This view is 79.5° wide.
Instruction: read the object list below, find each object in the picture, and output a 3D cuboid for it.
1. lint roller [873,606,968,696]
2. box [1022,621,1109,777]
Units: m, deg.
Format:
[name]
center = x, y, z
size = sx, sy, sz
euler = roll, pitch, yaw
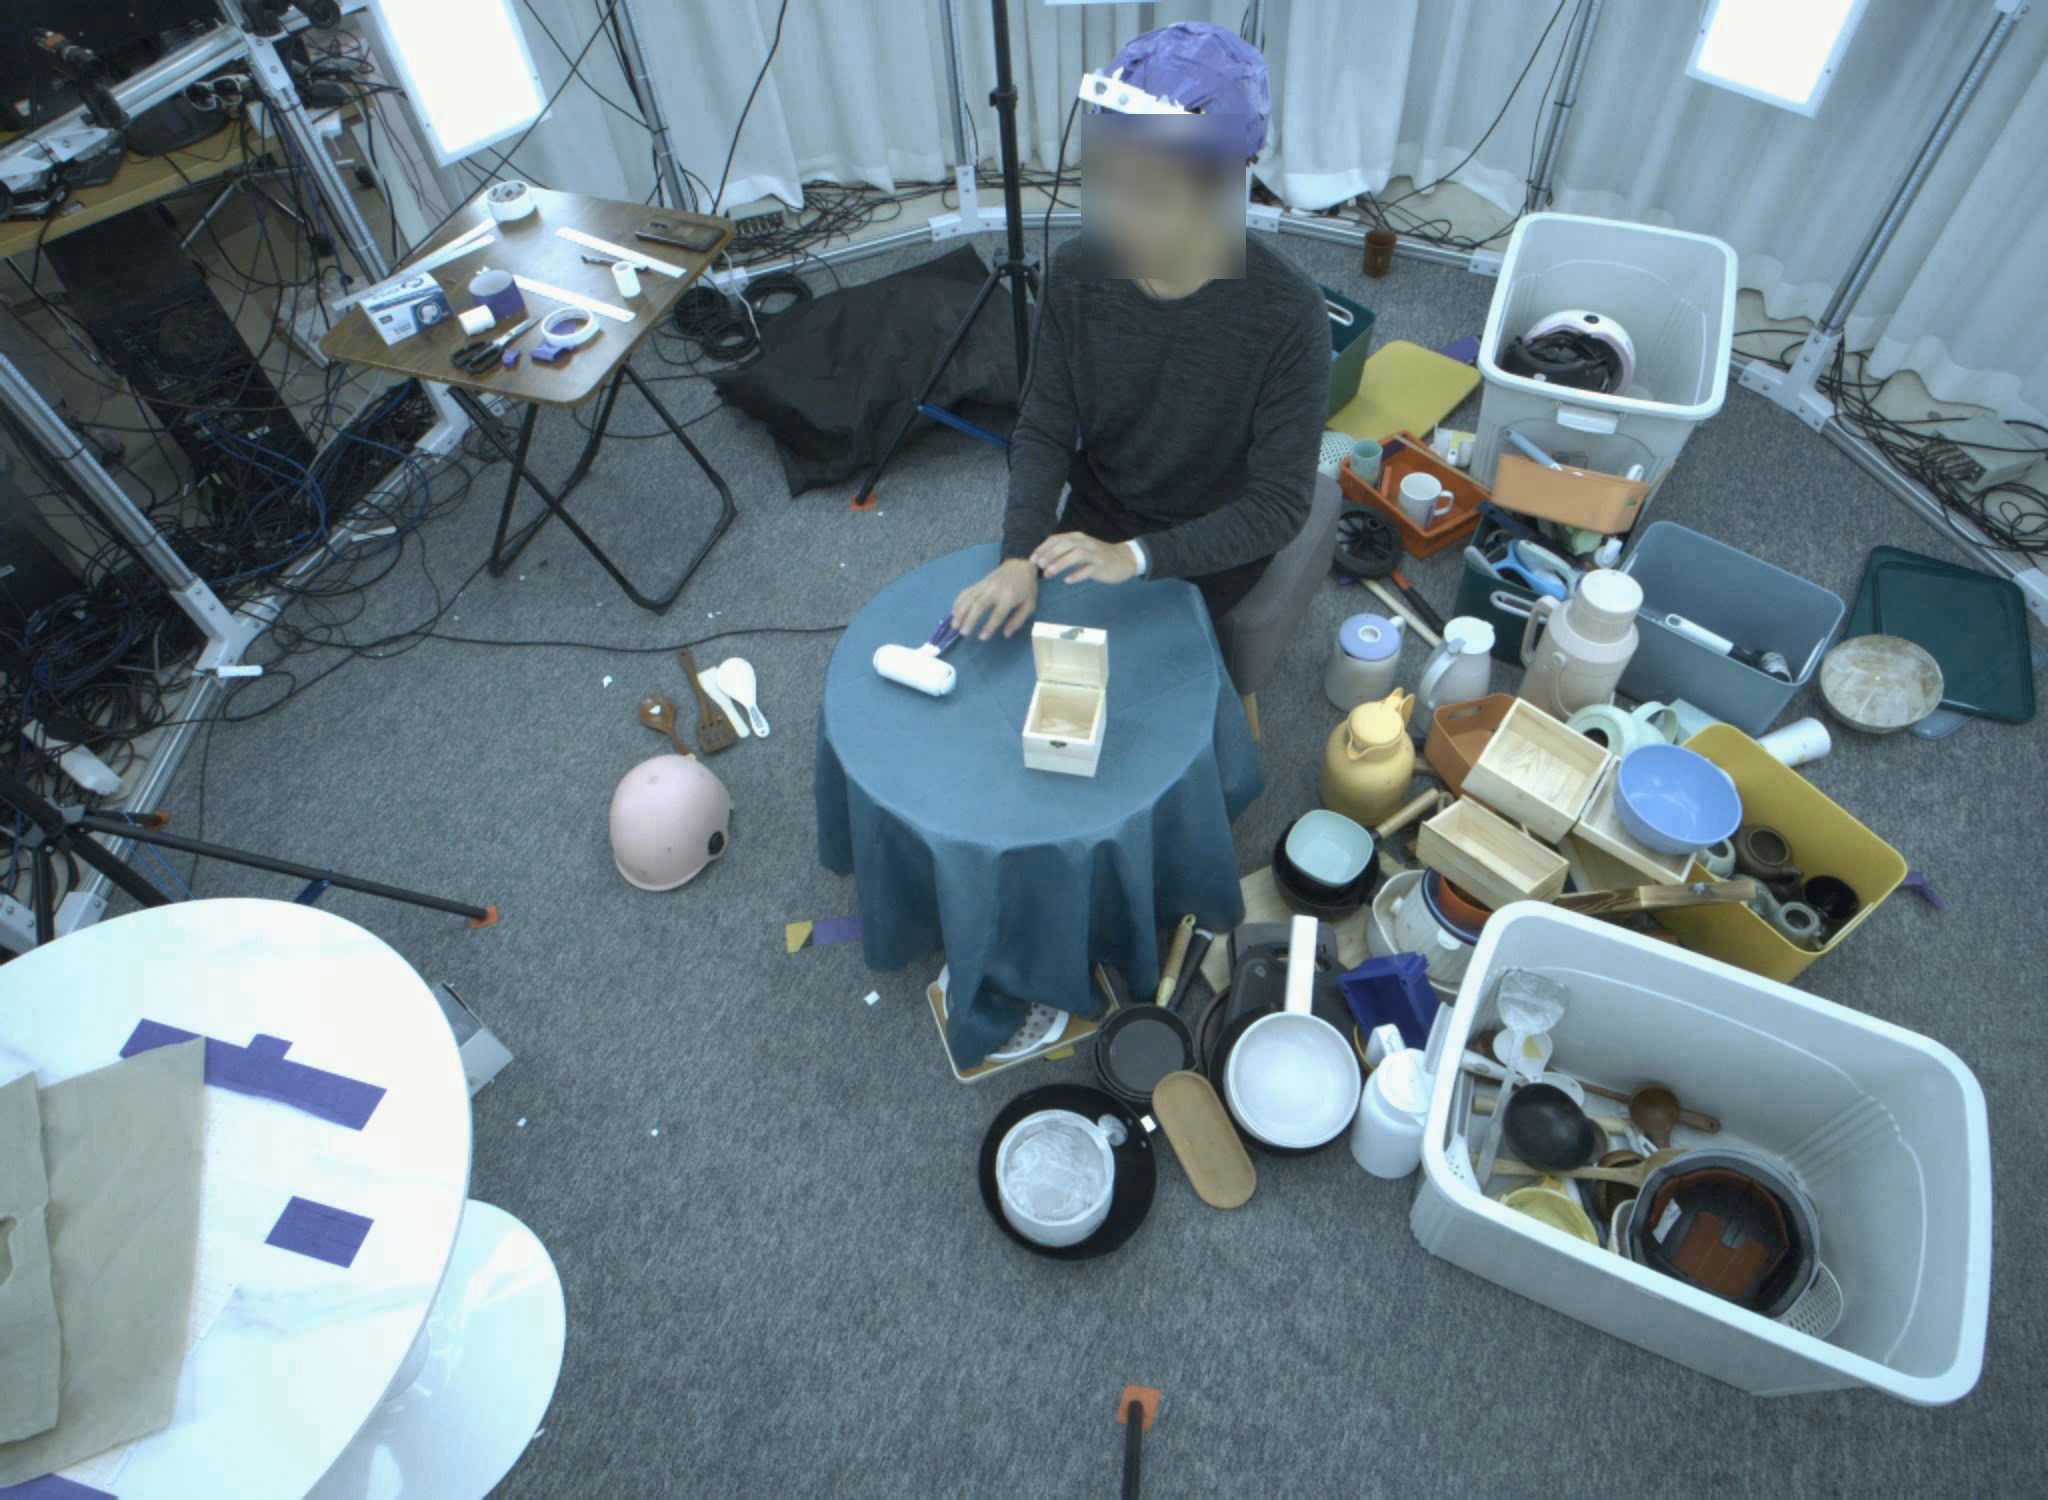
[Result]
[lint roller]
center = -0.137, -0.167, 1.882
size = 0.131, 0.051, 0.181
euler = 23, 61, 19
[box]
center = 0.058, -0.069, 1.722
size = 0.102, 0.186, 0.133
euler = 8, 55, 9
